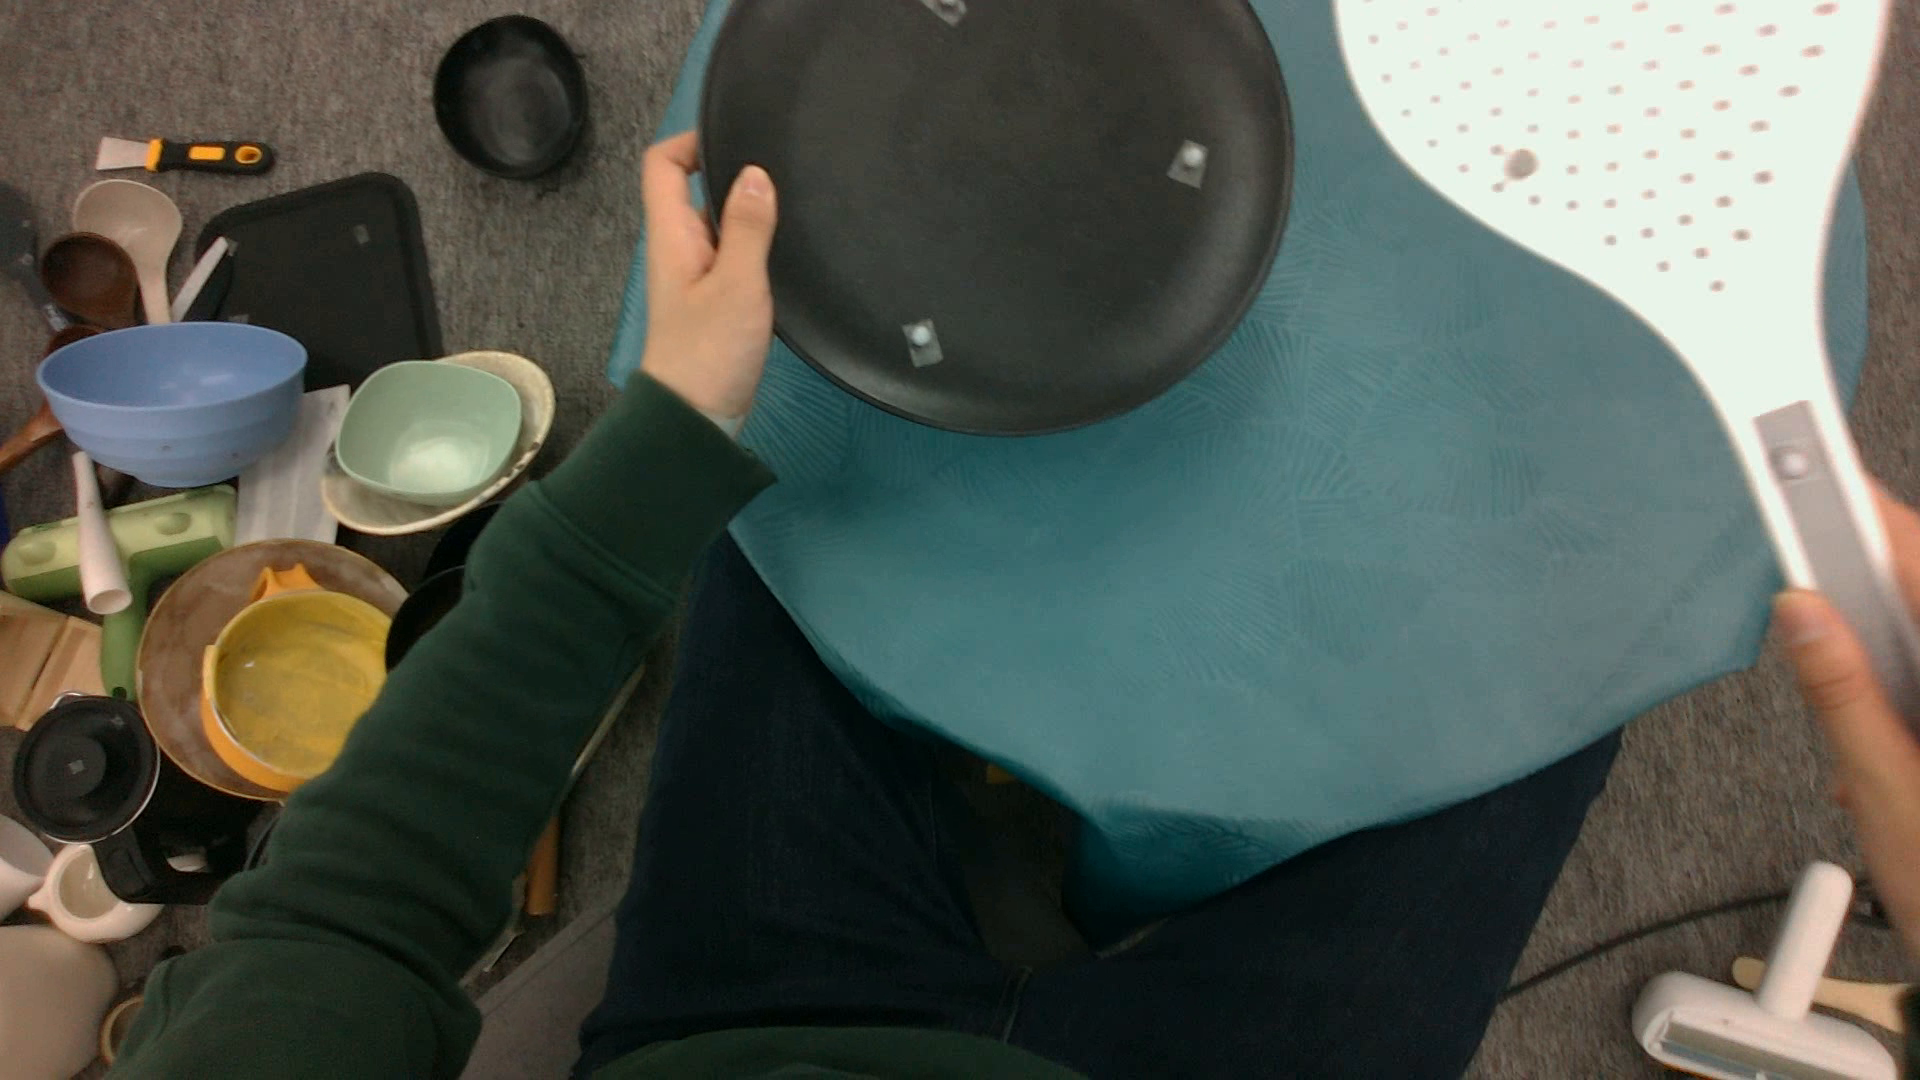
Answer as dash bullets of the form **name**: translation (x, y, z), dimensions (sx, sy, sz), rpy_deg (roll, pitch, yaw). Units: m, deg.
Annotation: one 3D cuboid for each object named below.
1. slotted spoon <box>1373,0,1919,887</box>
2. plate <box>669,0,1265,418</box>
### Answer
- **slotted spoon**: translation (0.226, -0.058, 0.387), dimensions (0.135, 0.046, 0.349), rpy_deg (-19, 95, 27)
- **plate**: translation (0.006, -0.167, 0.564), dimensions (0.244, 0.023, 0.244), rpy_deg (1, 84, -9)
